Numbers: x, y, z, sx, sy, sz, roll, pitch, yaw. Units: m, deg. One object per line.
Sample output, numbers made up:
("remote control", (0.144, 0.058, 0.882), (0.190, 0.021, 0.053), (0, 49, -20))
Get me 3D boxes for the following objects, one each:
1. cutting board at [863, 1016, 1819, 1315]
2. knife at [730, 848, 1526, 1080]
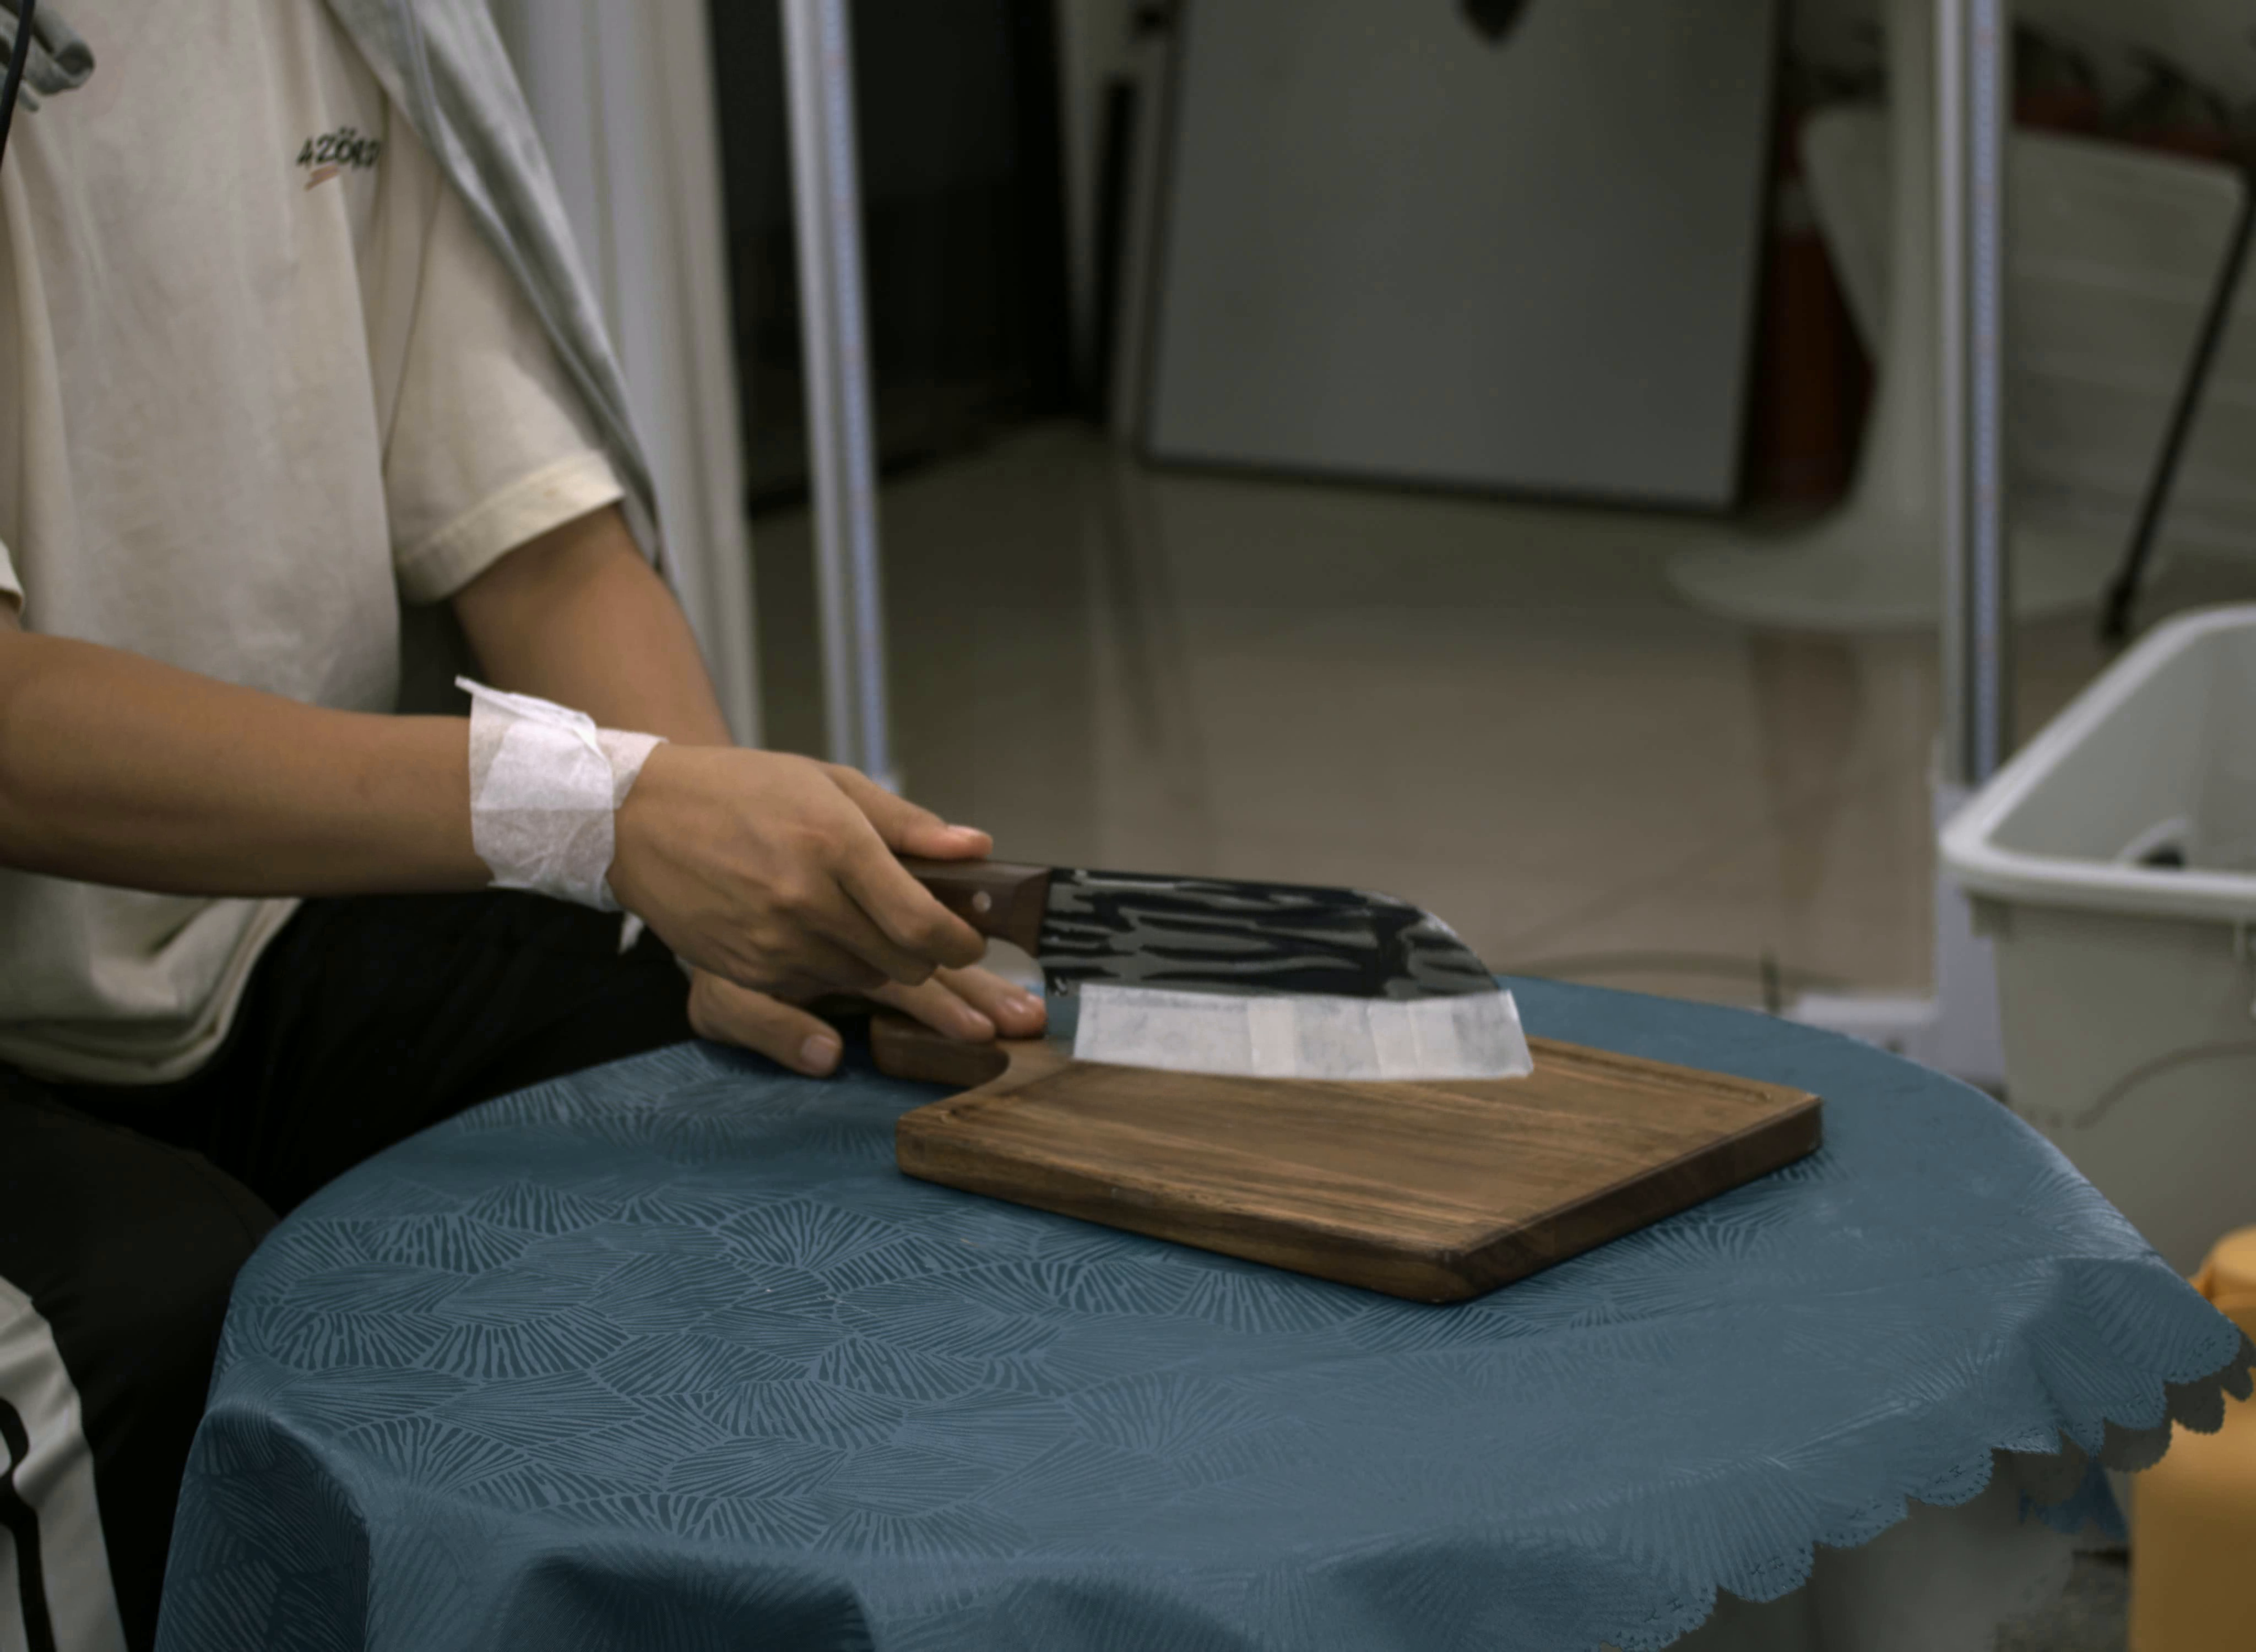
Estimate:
("cutting board", (0.040, 0.099, 1.820), (0.355, 0.023, 0.197), (8, 20, 44))
("knife", (-0.003, 0.047, 1.826), (0.300, 0.069, 0.023), (5, 10, 26))
